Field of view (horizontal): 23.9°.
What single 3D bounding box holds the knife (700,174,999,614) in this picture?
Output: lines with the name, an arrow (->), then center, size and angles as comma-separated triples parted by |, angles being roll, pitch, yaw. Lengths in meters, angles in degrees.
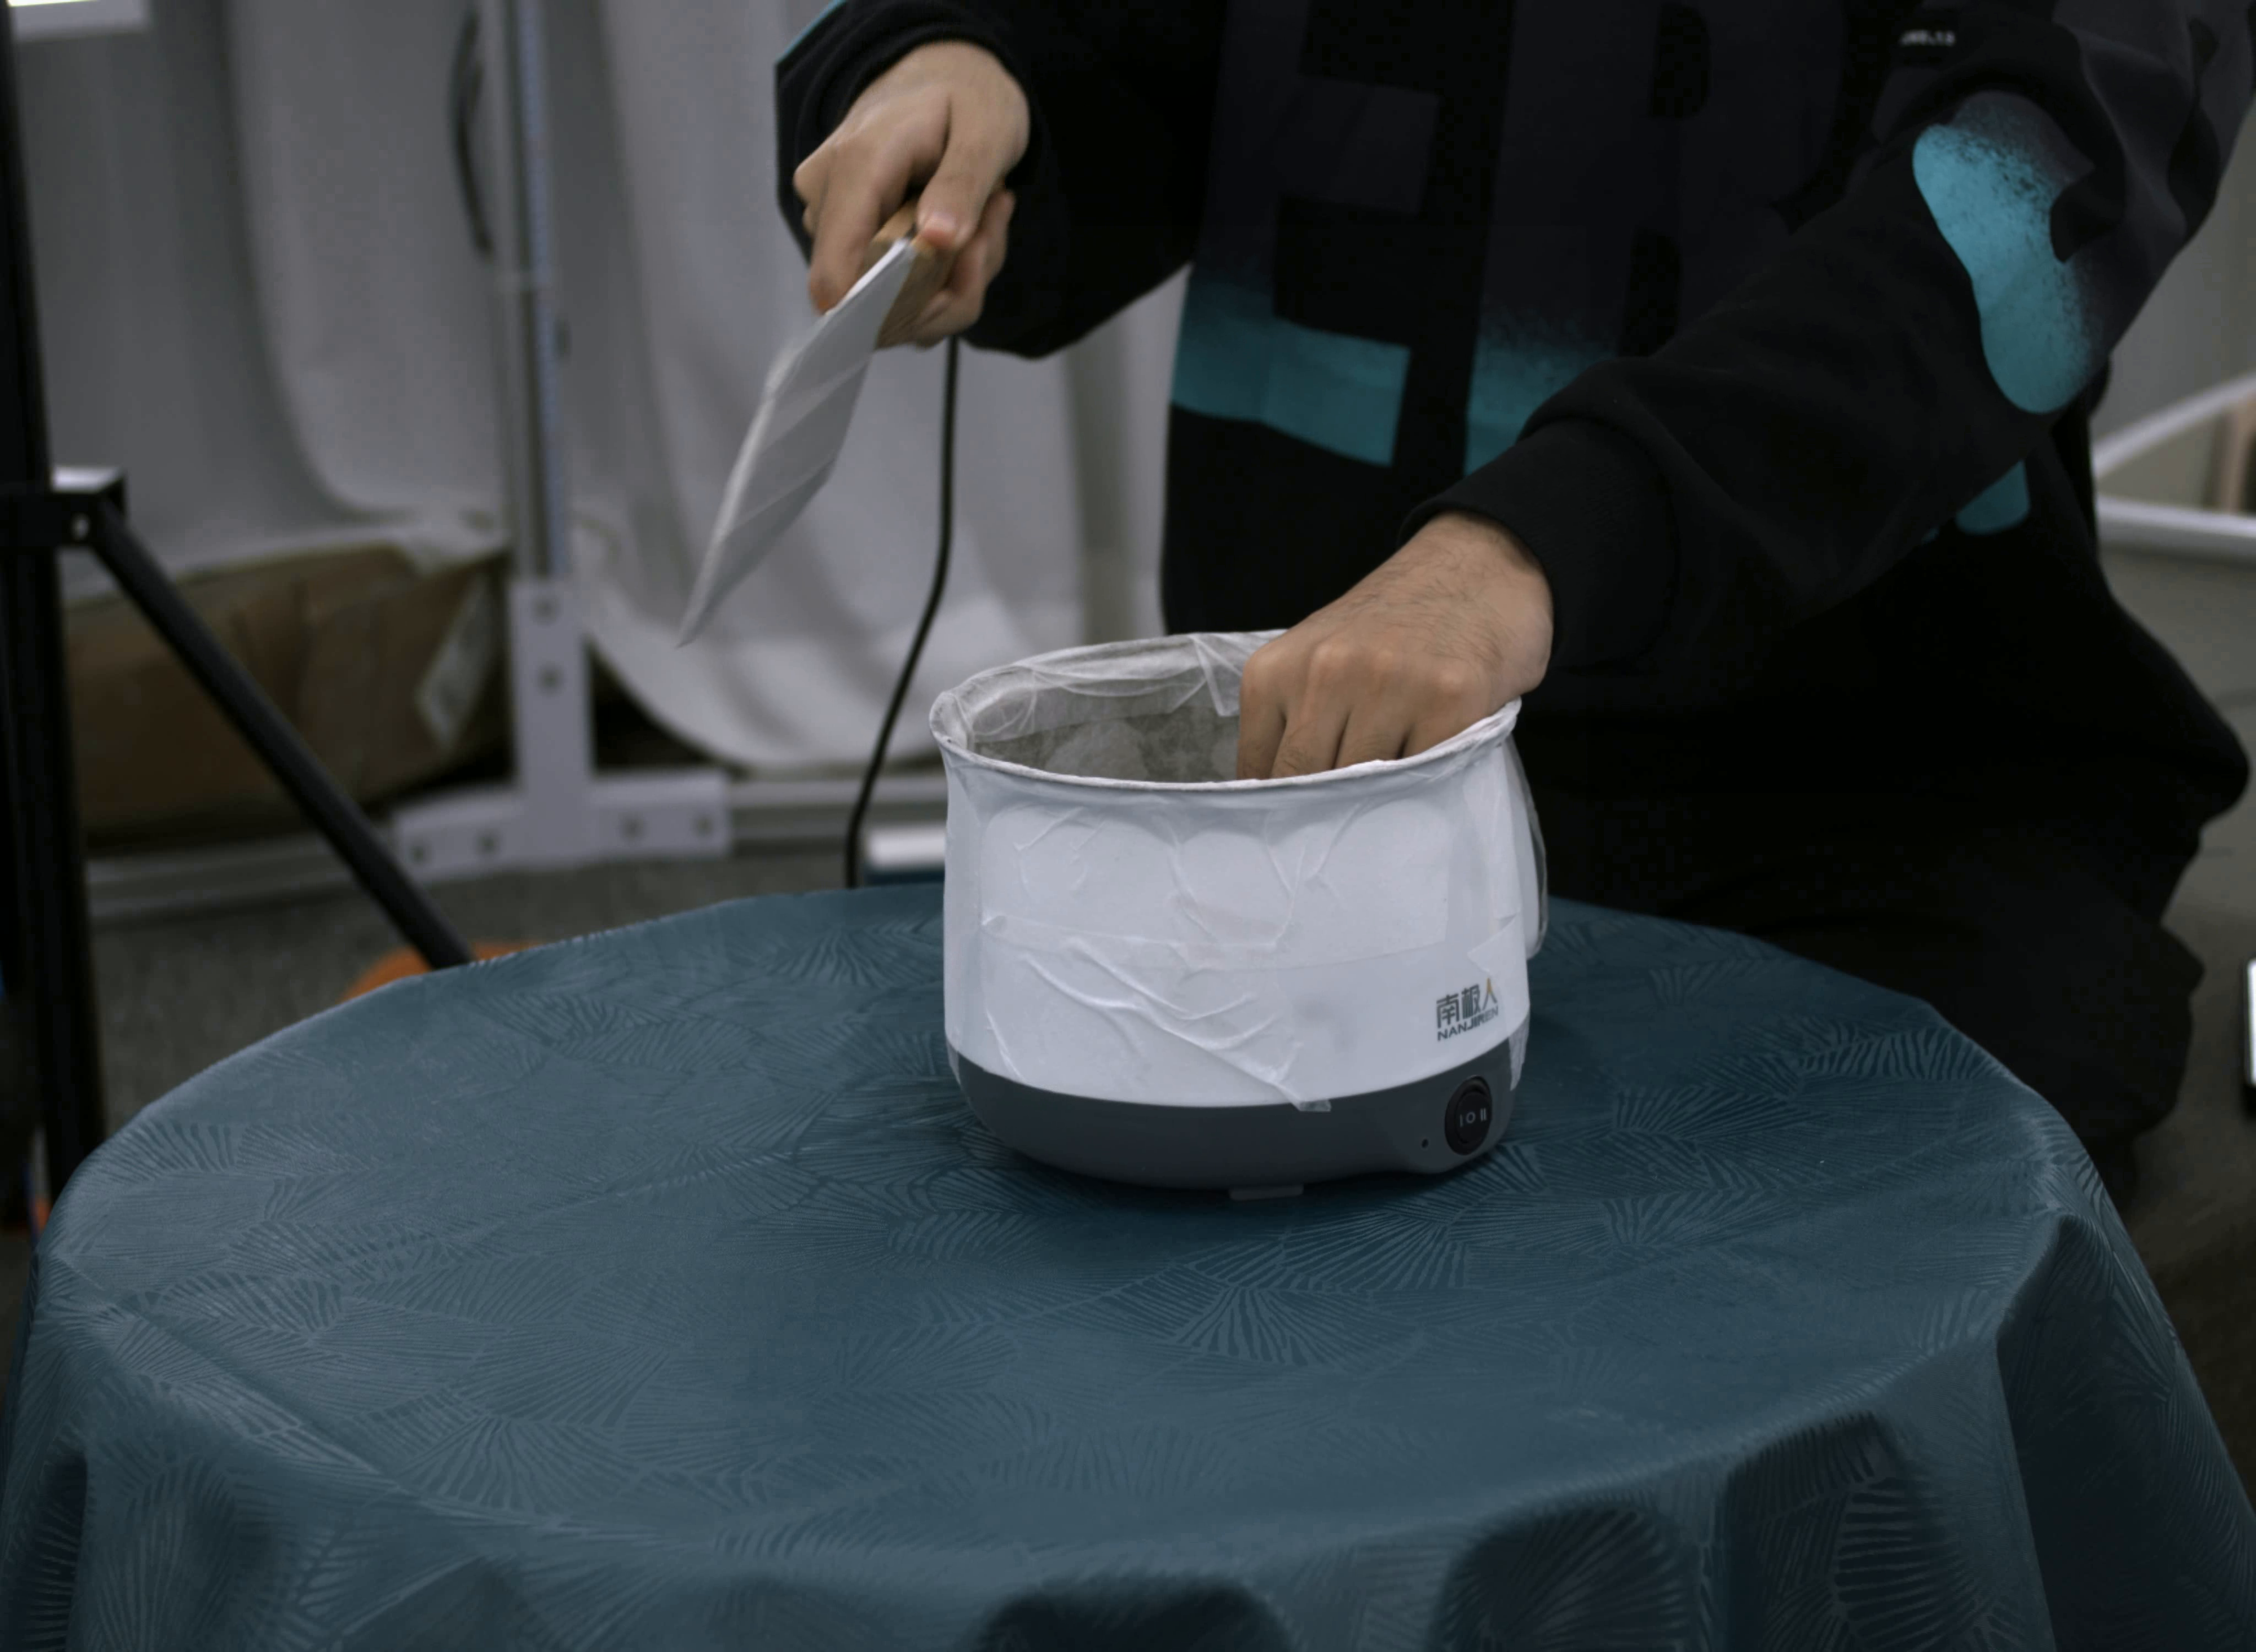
knife -> -0.082, -0.150, 1.664 | 0.022, 0.114, 0.314 | 20, 24, 2

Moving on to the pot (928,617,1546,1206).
pot -> 0.048, 0.019, 1.614 | 0.182, 0.136, 0.229 | 11, 21, 38
